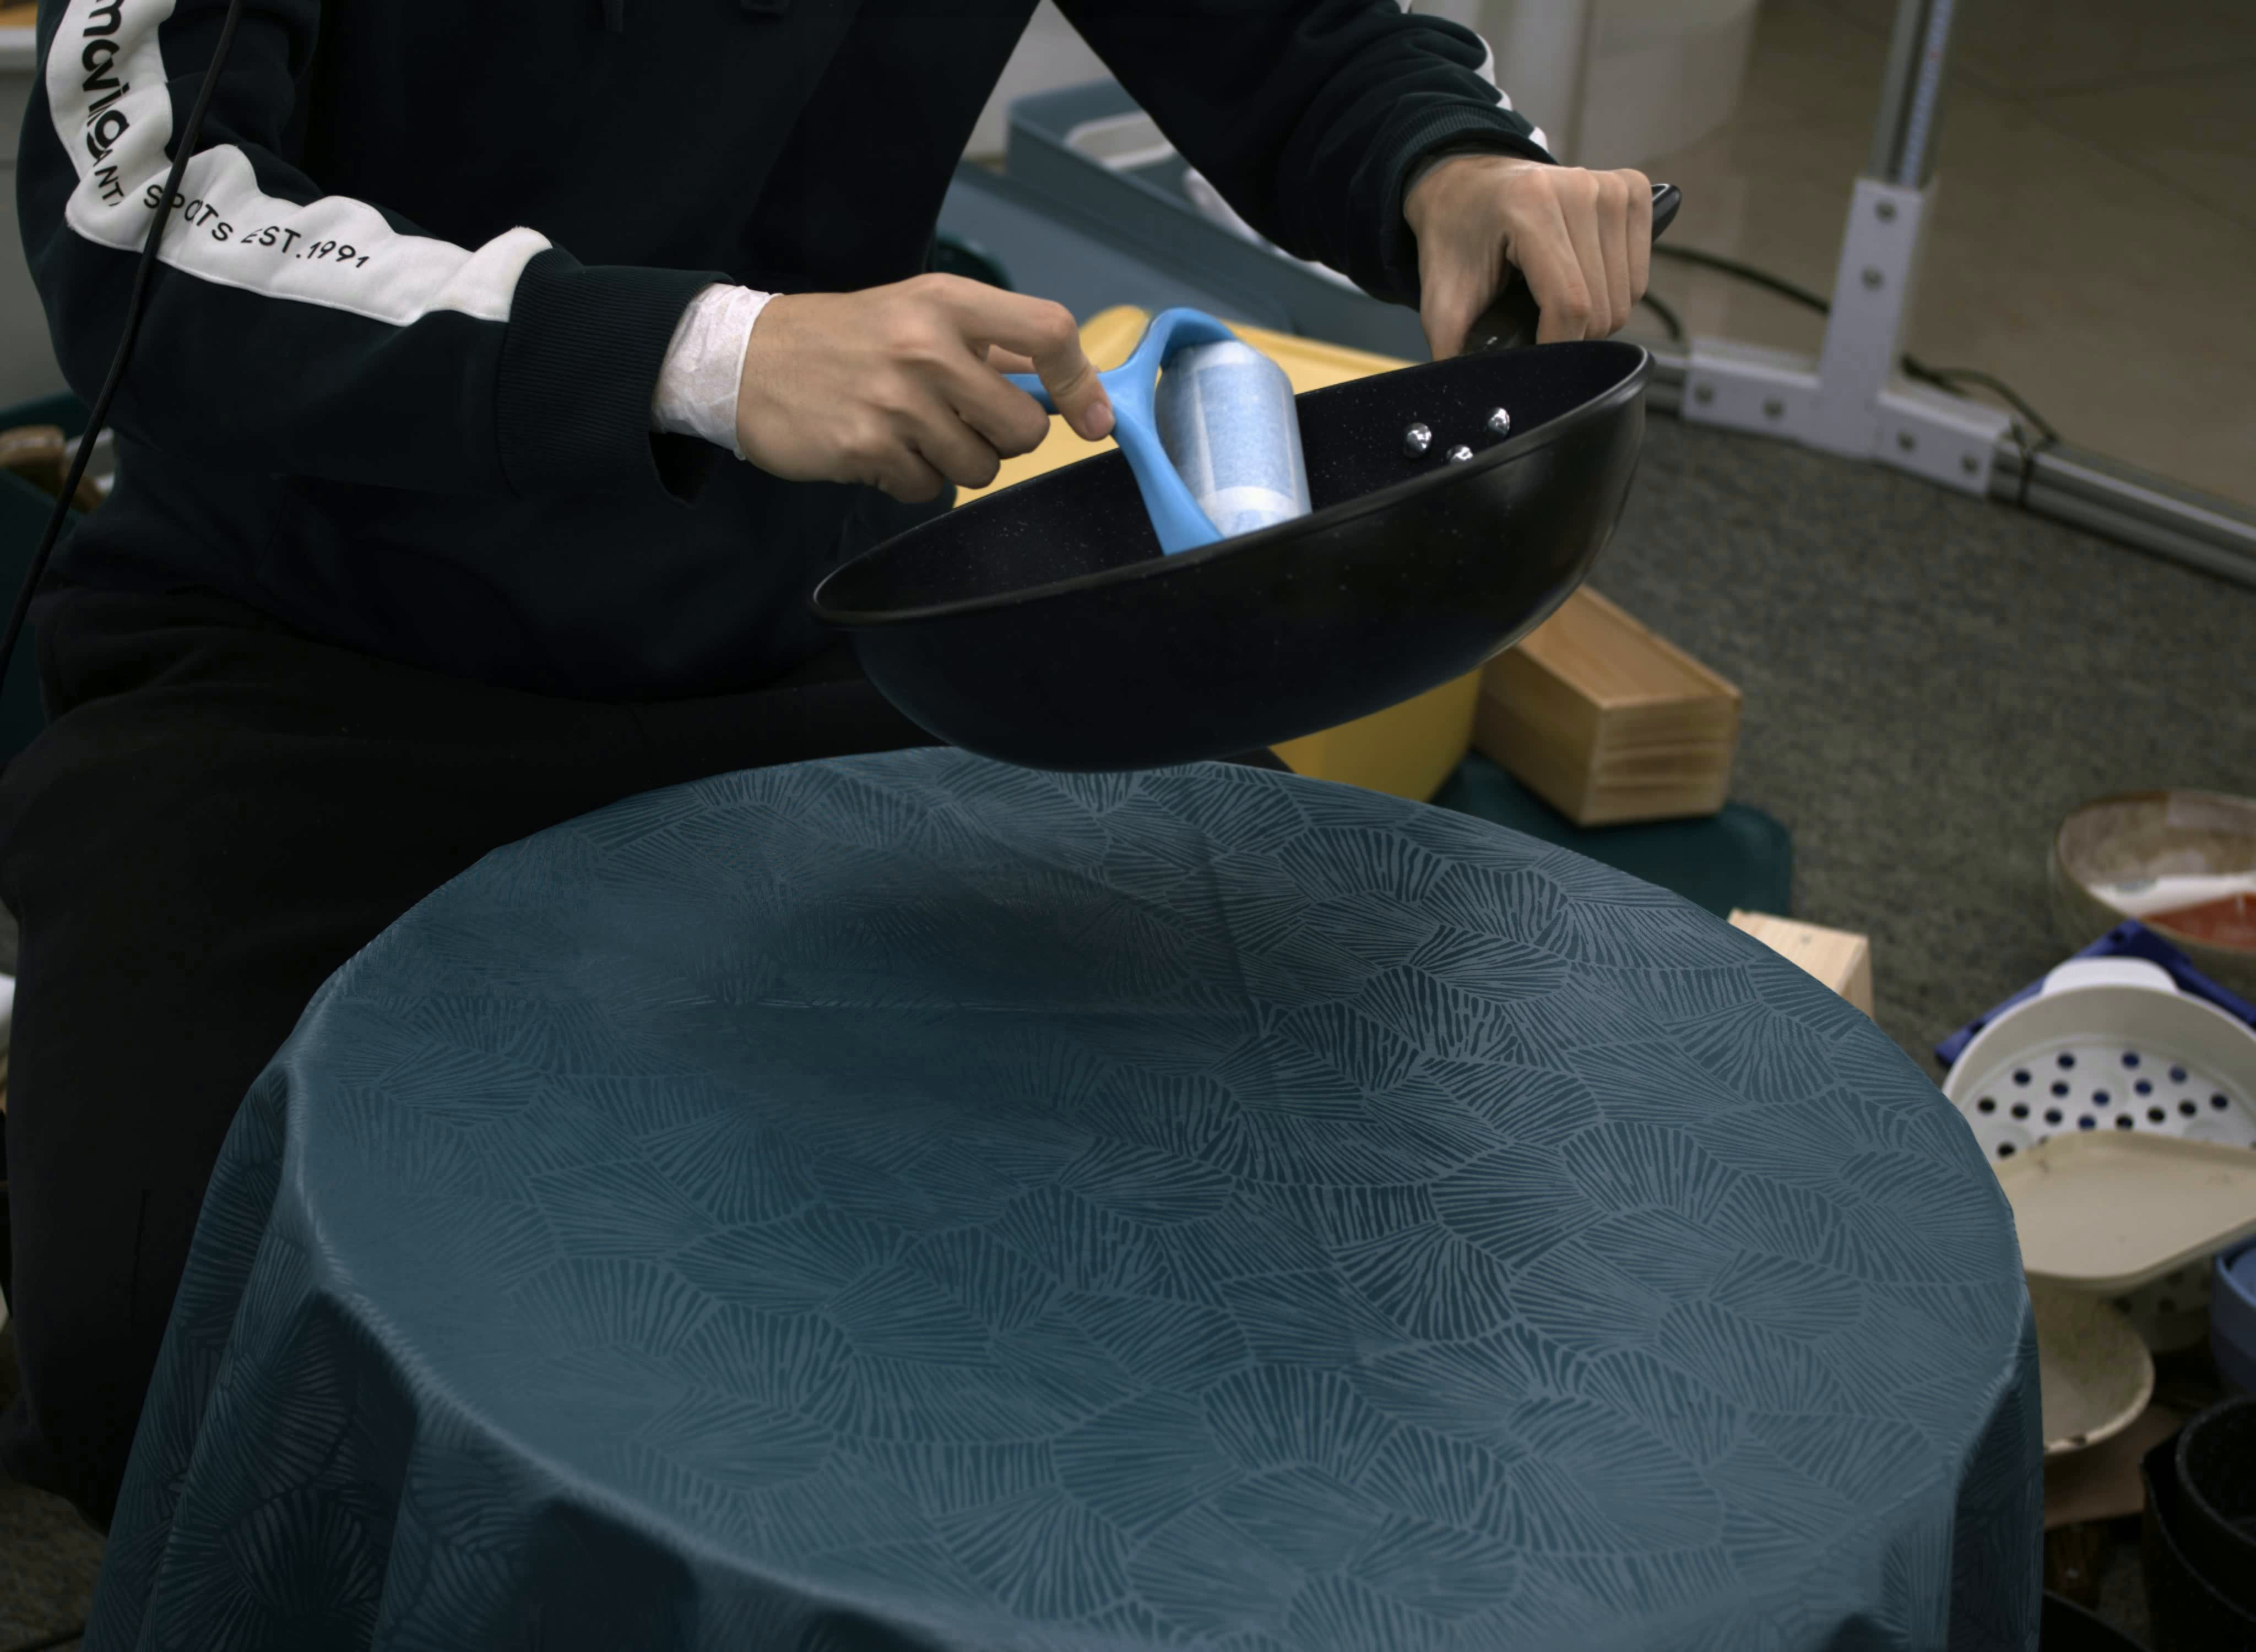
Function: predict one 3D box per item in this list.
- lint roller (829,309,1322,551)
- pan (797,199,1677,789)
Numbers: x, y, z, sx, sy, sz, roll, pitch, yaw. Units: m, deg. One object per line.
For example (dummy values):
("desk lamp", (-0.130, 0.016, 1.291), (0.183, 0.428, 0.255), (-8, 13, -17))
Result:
("lint roller", (-0.011, -0.124, 1.885), (0.179, 0.068, 0.231), (16, 30, -16))
("pan", (0.087, -0.117, 1.924), (0.311, 0.111, 0.475), (-7, 15, 38))
